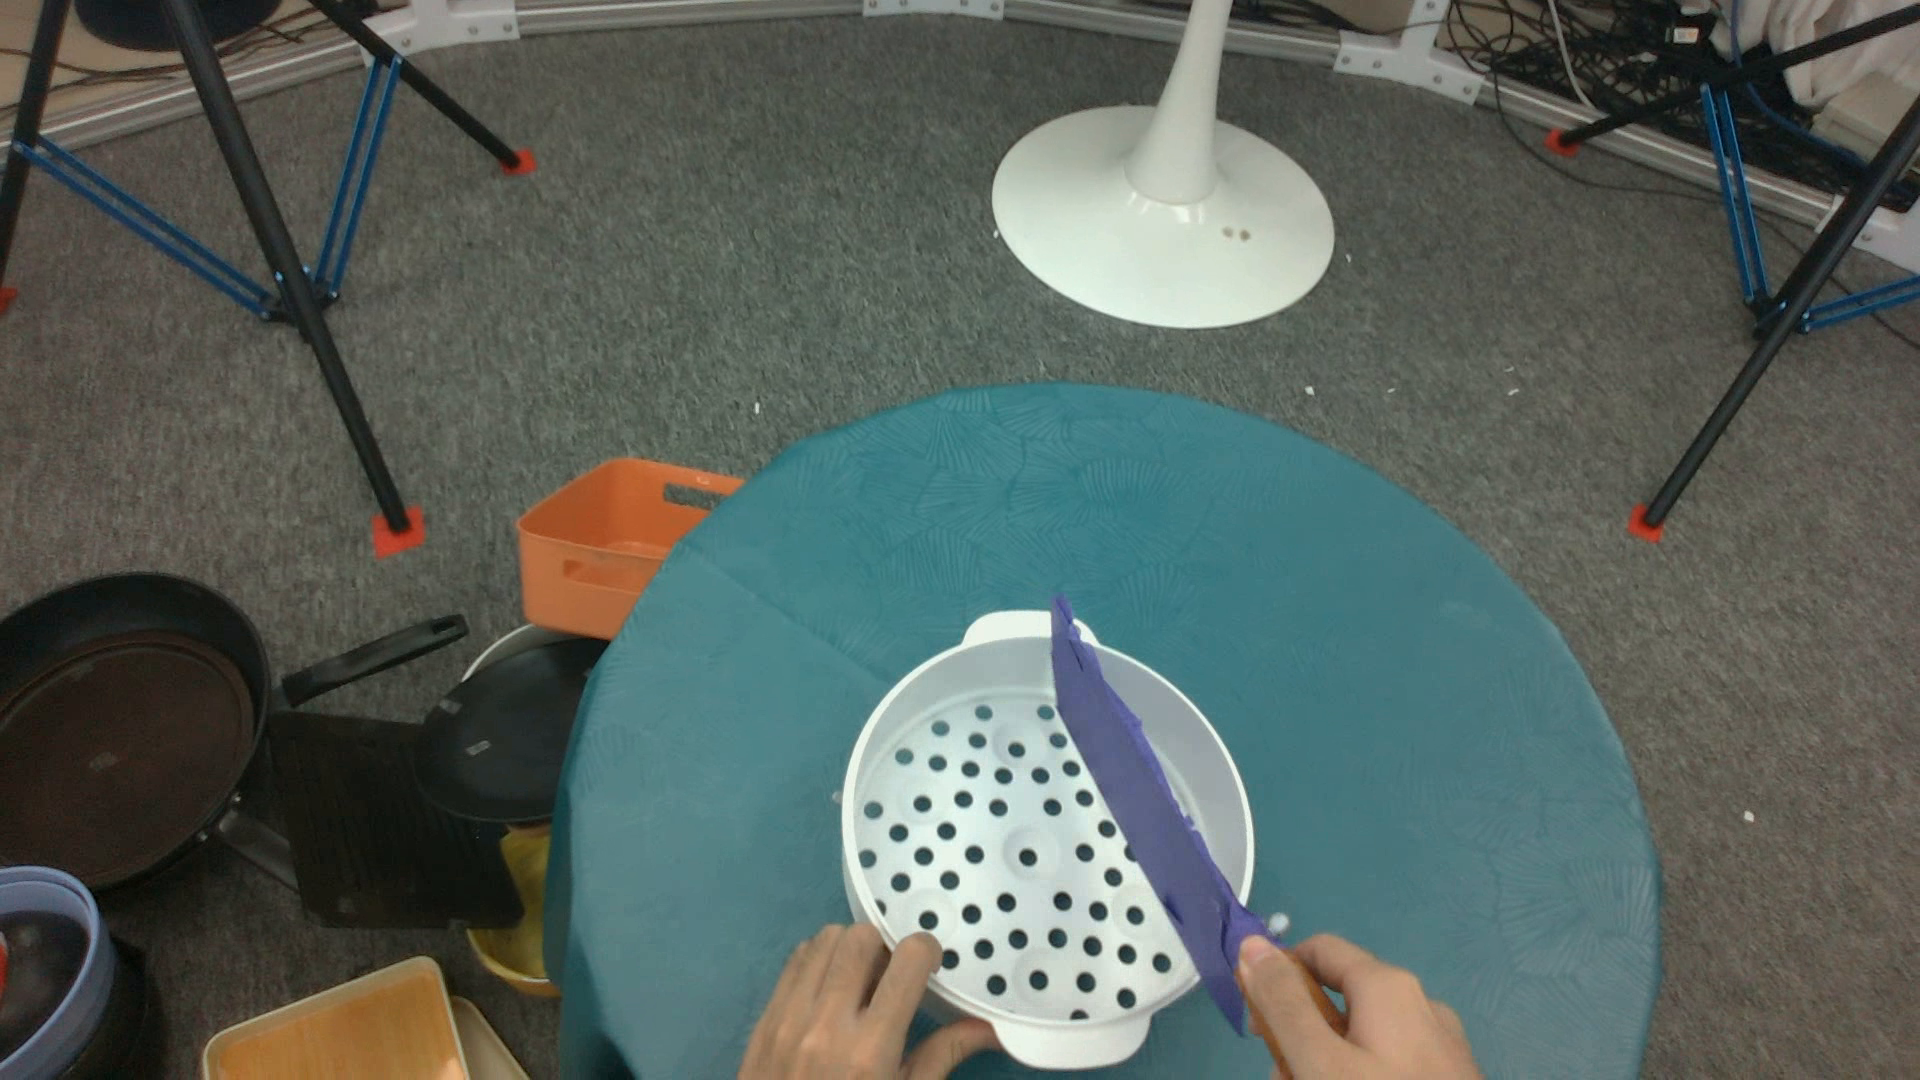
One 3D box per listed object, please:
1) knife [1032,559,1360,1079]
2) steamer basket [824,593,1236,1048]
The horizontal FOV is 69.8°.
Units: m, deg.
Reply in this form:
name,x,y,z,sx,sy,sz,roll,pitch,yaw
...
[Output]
name,x,y,z,sx,sy,sz,roll,pitch,yaw
knife,0.093,0.142,0.606,0.032,0.103,0.316,-14,43,-11
steamer basket,0.032,0.140,0.688,0.202,0.069,0.231,0,57,-8
